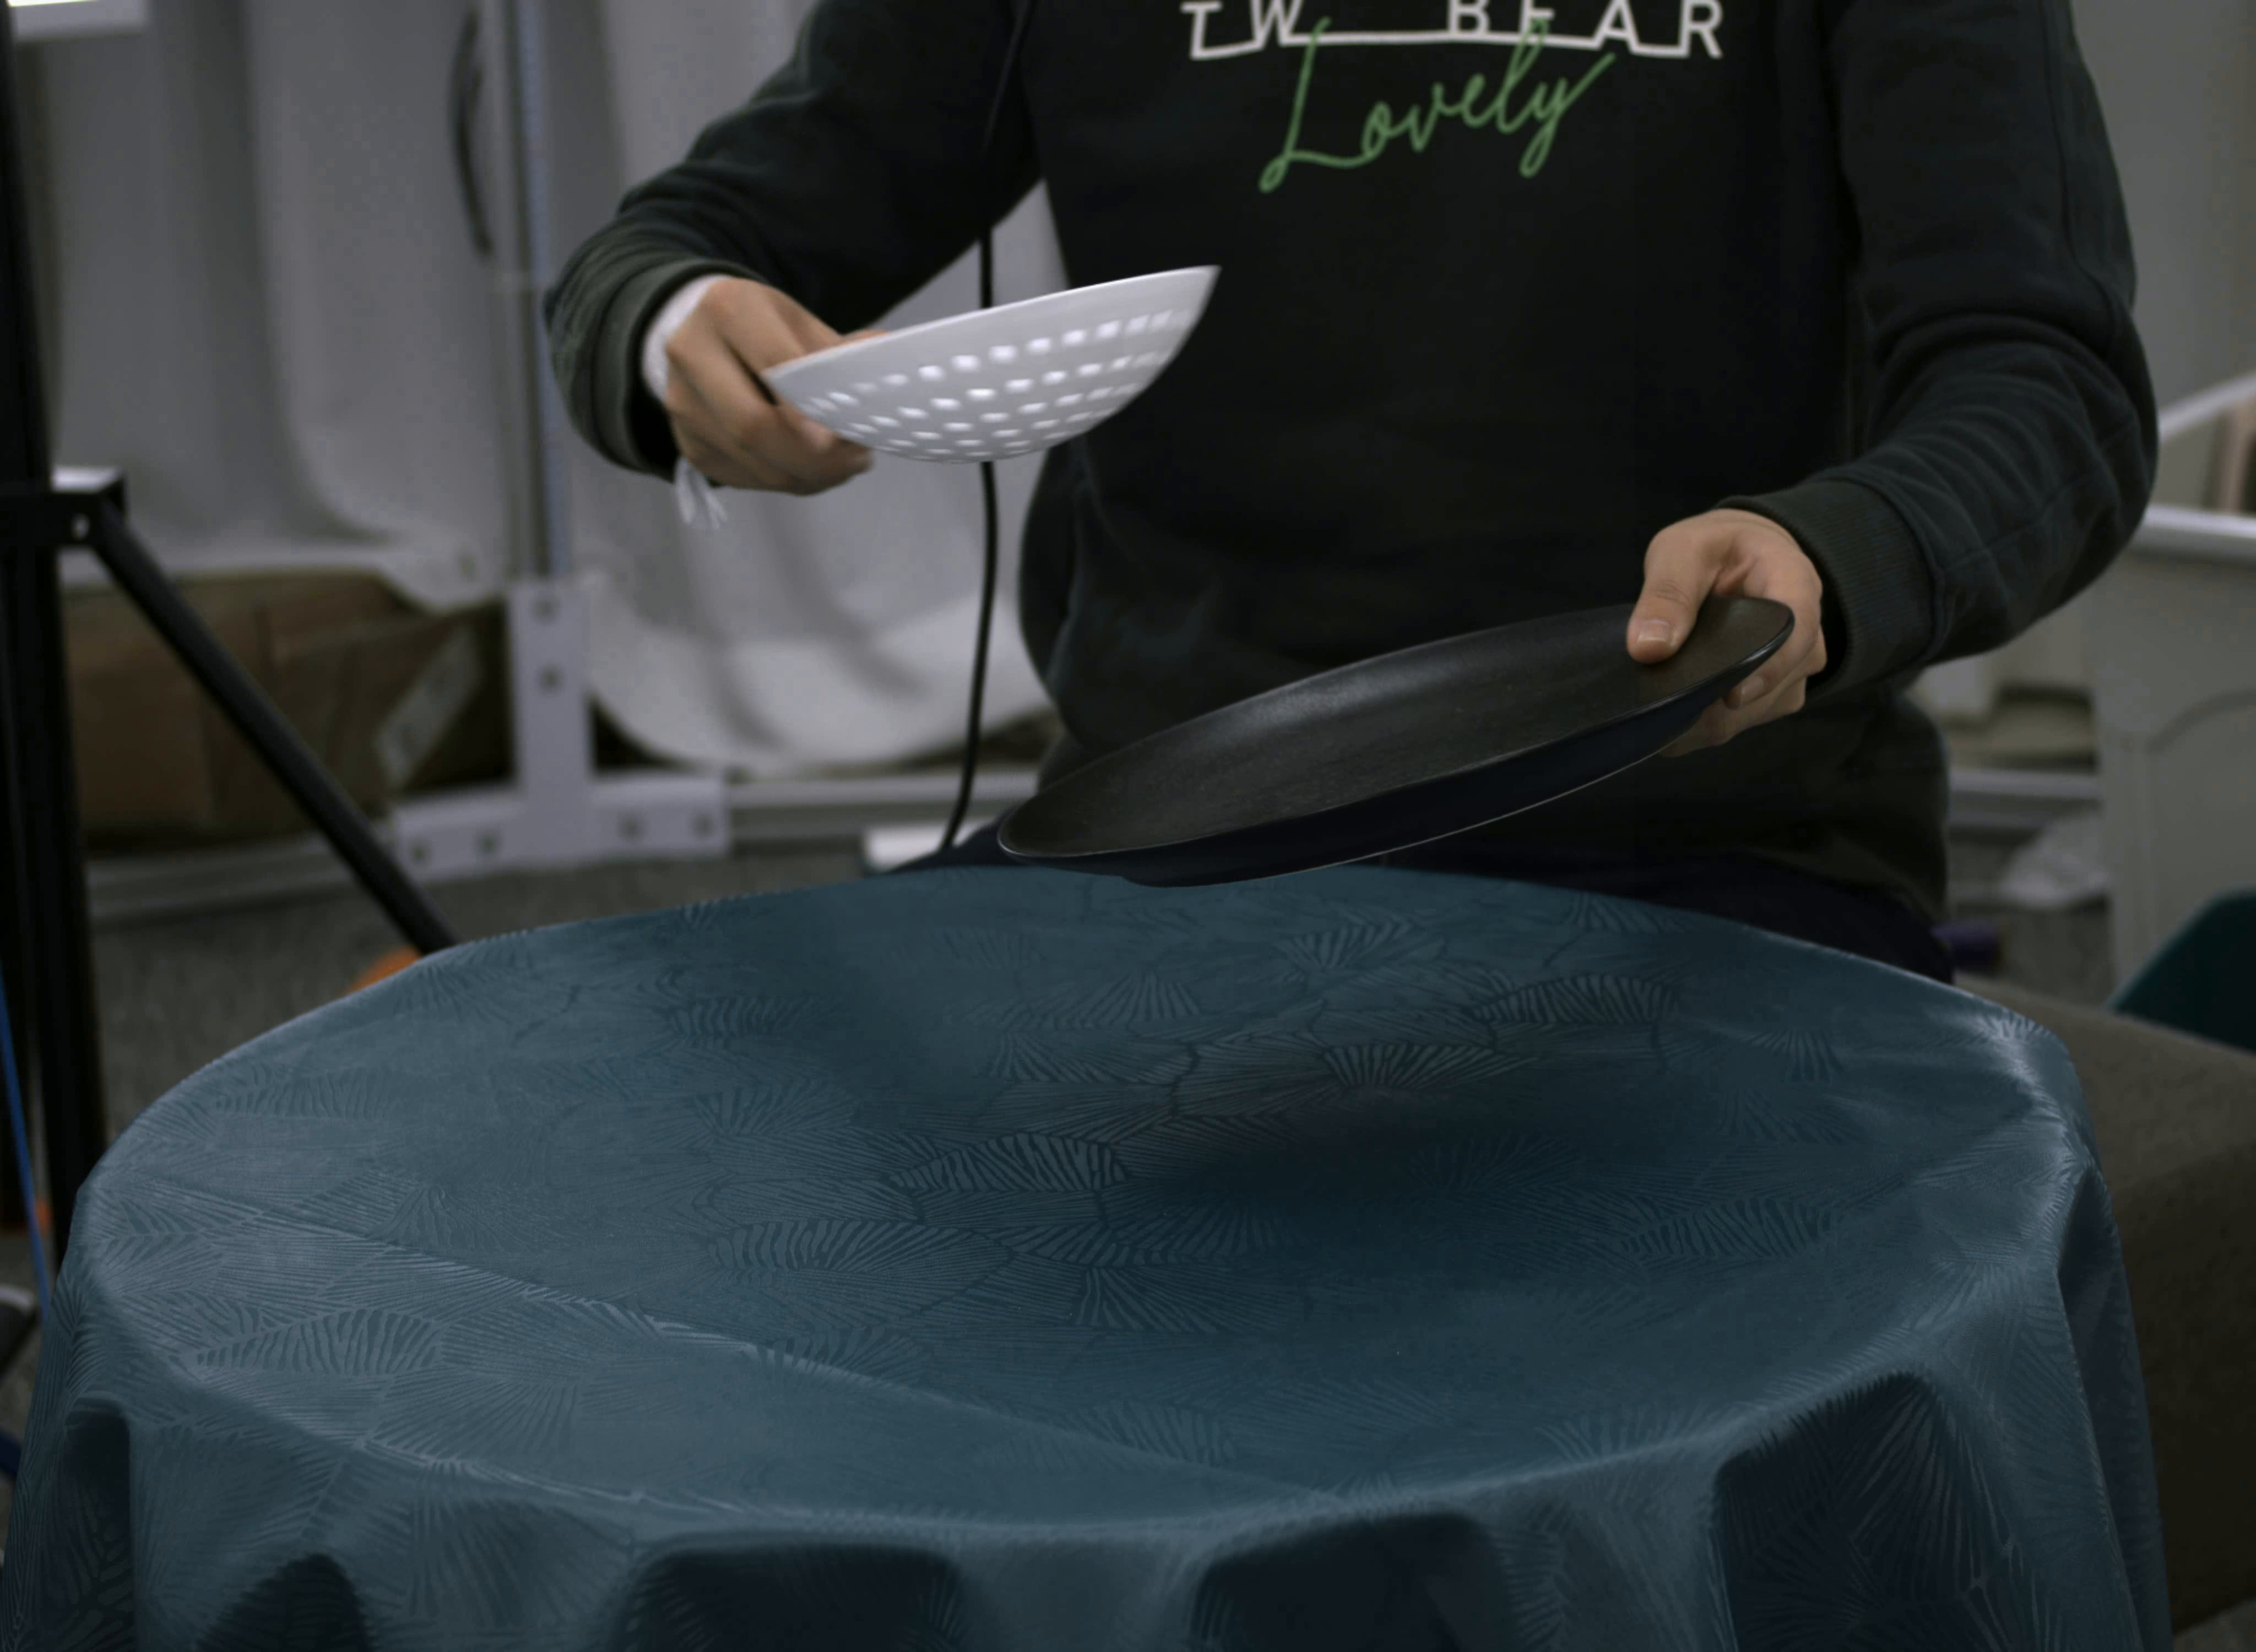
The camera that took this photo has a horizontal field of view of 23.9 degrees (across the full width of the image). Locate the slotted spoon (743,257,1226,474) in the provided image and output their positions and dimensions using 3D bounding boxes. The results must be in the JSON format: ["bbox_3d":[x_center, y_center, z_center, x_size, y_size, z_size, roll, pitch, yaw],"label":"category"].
[{"bbox_3d":[-0.068,-0.138,1.676,0.134,0.046,0.354,-15,7,-17],"label":"slotted spoon"}]

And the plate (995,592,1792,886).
[{"bbox_3d":[0.080,-0.022,1.565,0.243,0.023,0.245,-17,9,1],"label":"plate"}]
